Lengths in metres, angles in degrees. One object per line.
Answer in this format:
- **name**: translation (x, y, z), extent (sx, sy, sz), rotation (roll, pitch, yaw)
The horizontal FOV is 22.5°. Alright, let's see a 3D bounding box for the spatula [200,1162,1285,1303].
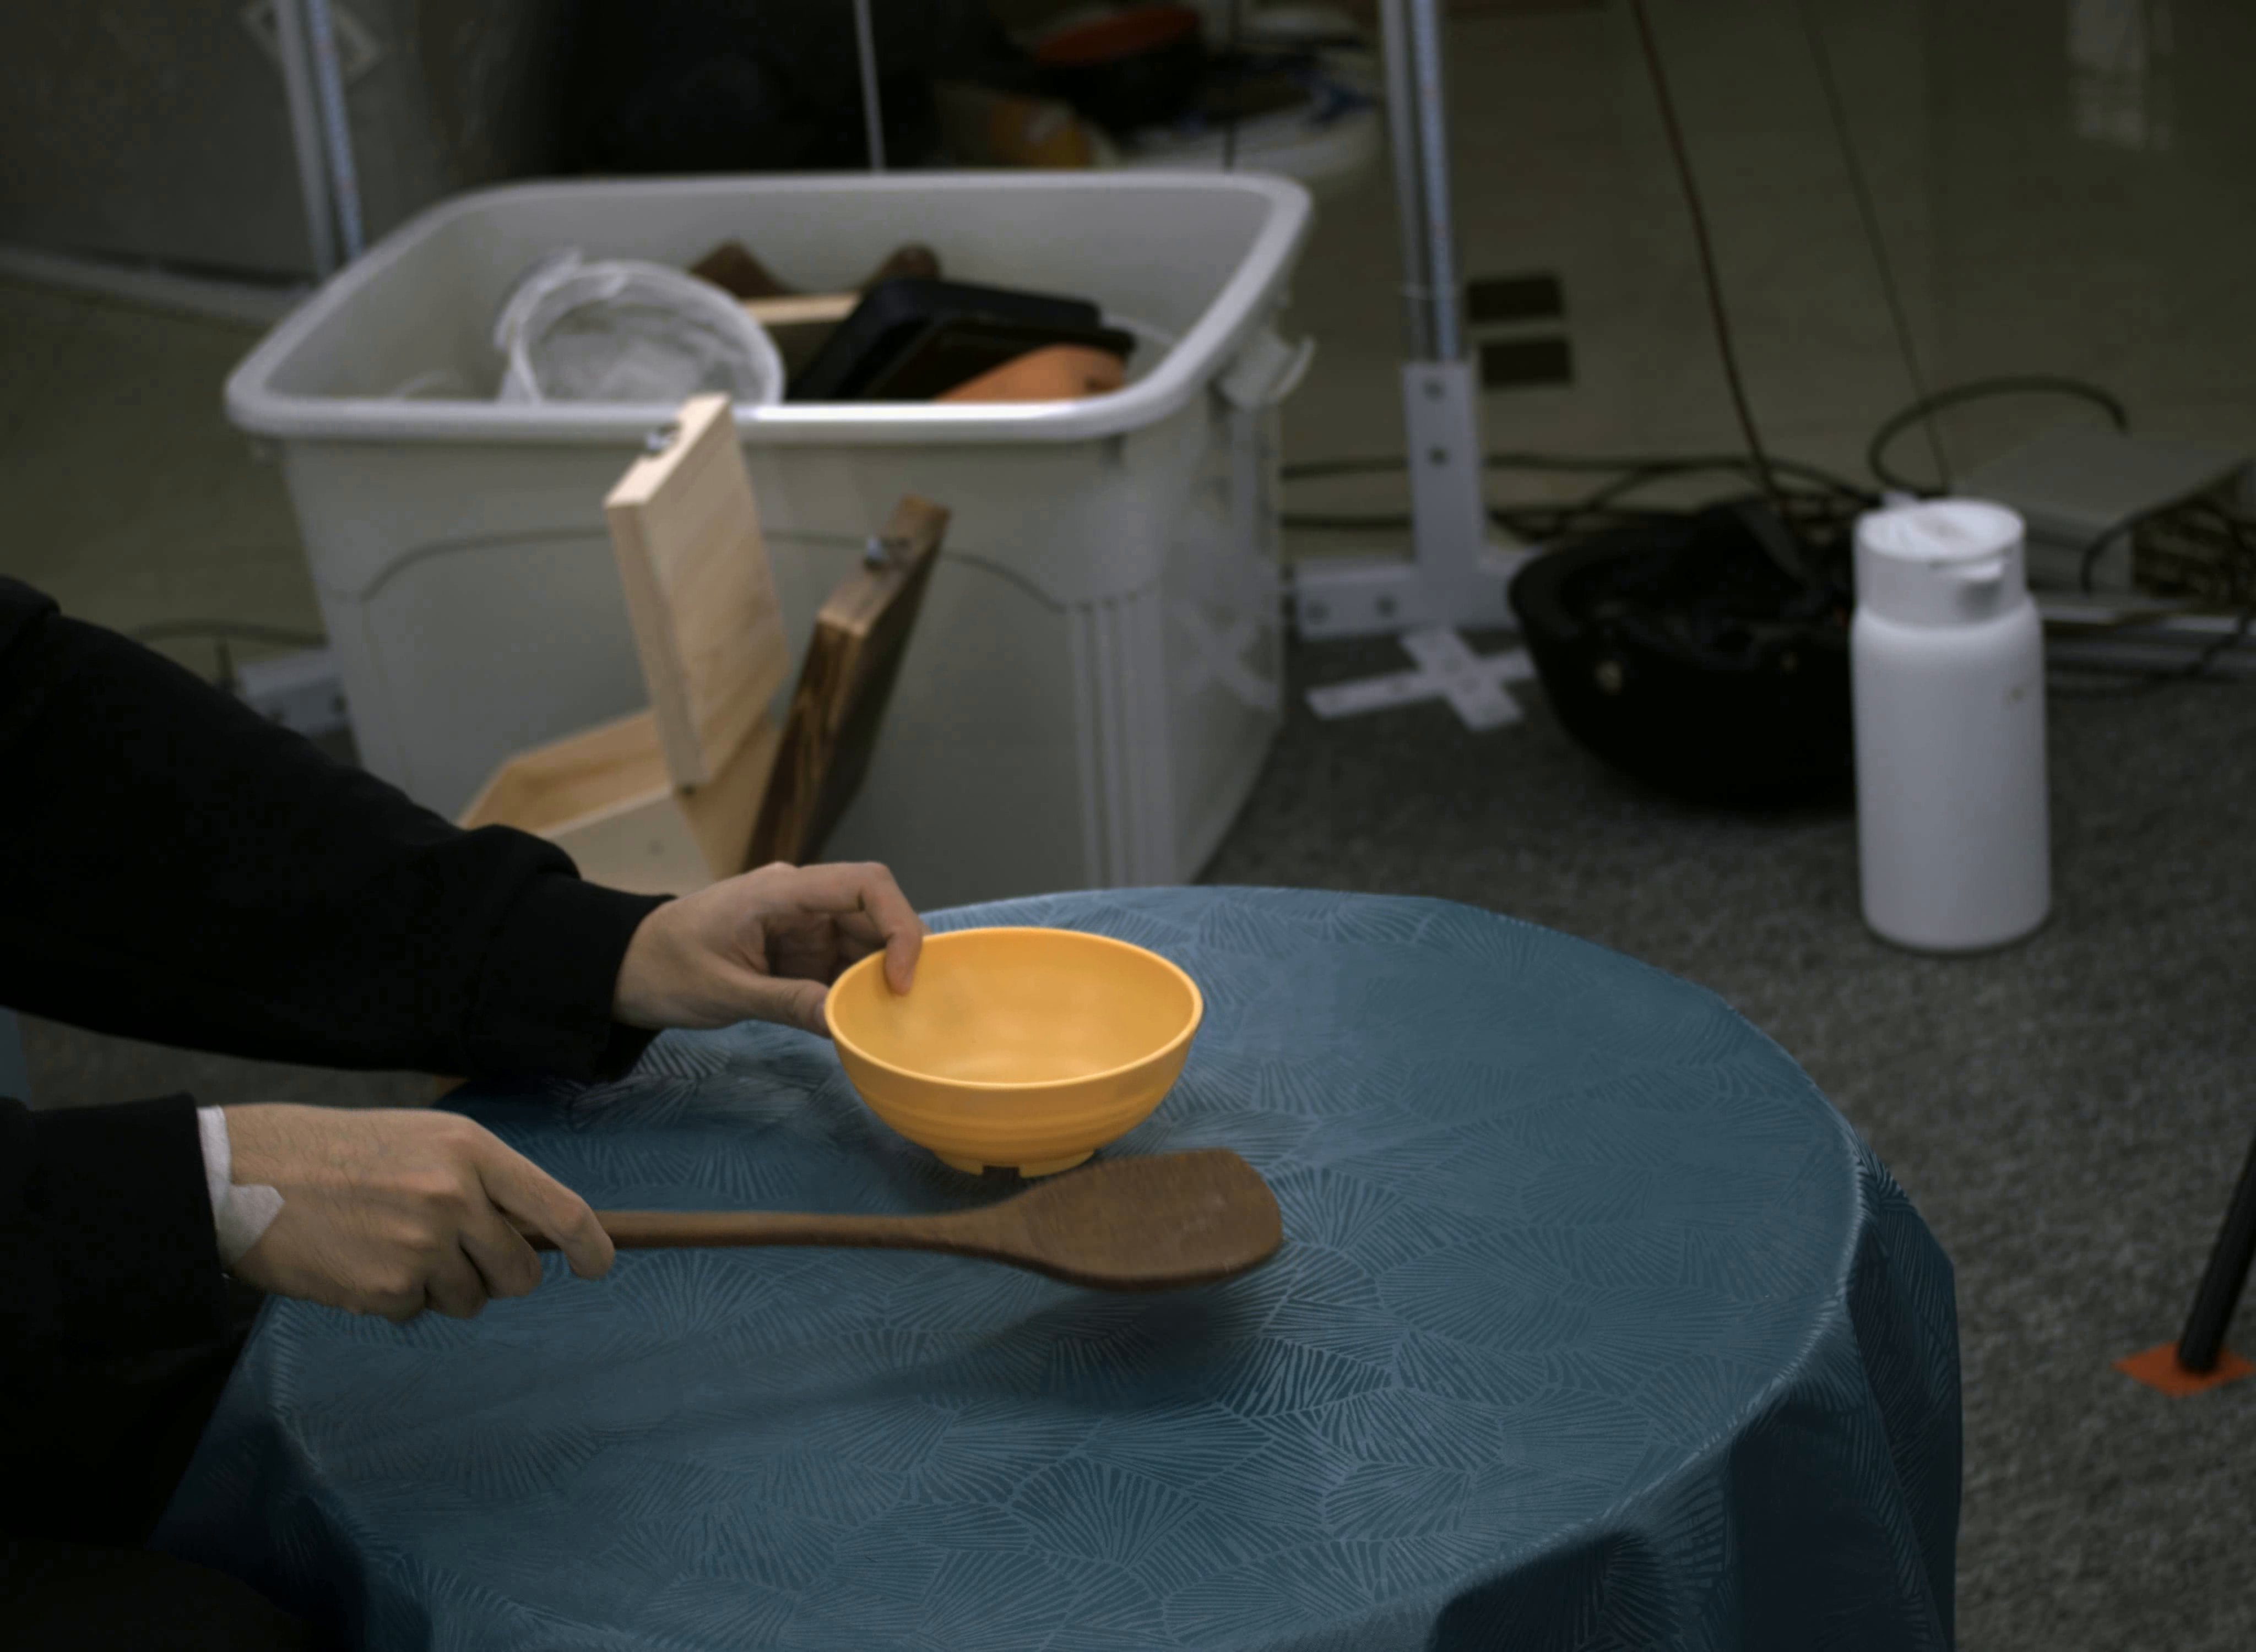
- **spatula**: translation (-0.136, 0.147, 2.021), extent (0.385, 0.016, 0.095), rotation (0, 24, -8)

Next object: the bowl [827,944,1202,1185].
- **bowl**: translation (-0.043, 0.098, 2.172), extent (0.145, 0.061, 0.143), rotation (-1, 22, 0)
